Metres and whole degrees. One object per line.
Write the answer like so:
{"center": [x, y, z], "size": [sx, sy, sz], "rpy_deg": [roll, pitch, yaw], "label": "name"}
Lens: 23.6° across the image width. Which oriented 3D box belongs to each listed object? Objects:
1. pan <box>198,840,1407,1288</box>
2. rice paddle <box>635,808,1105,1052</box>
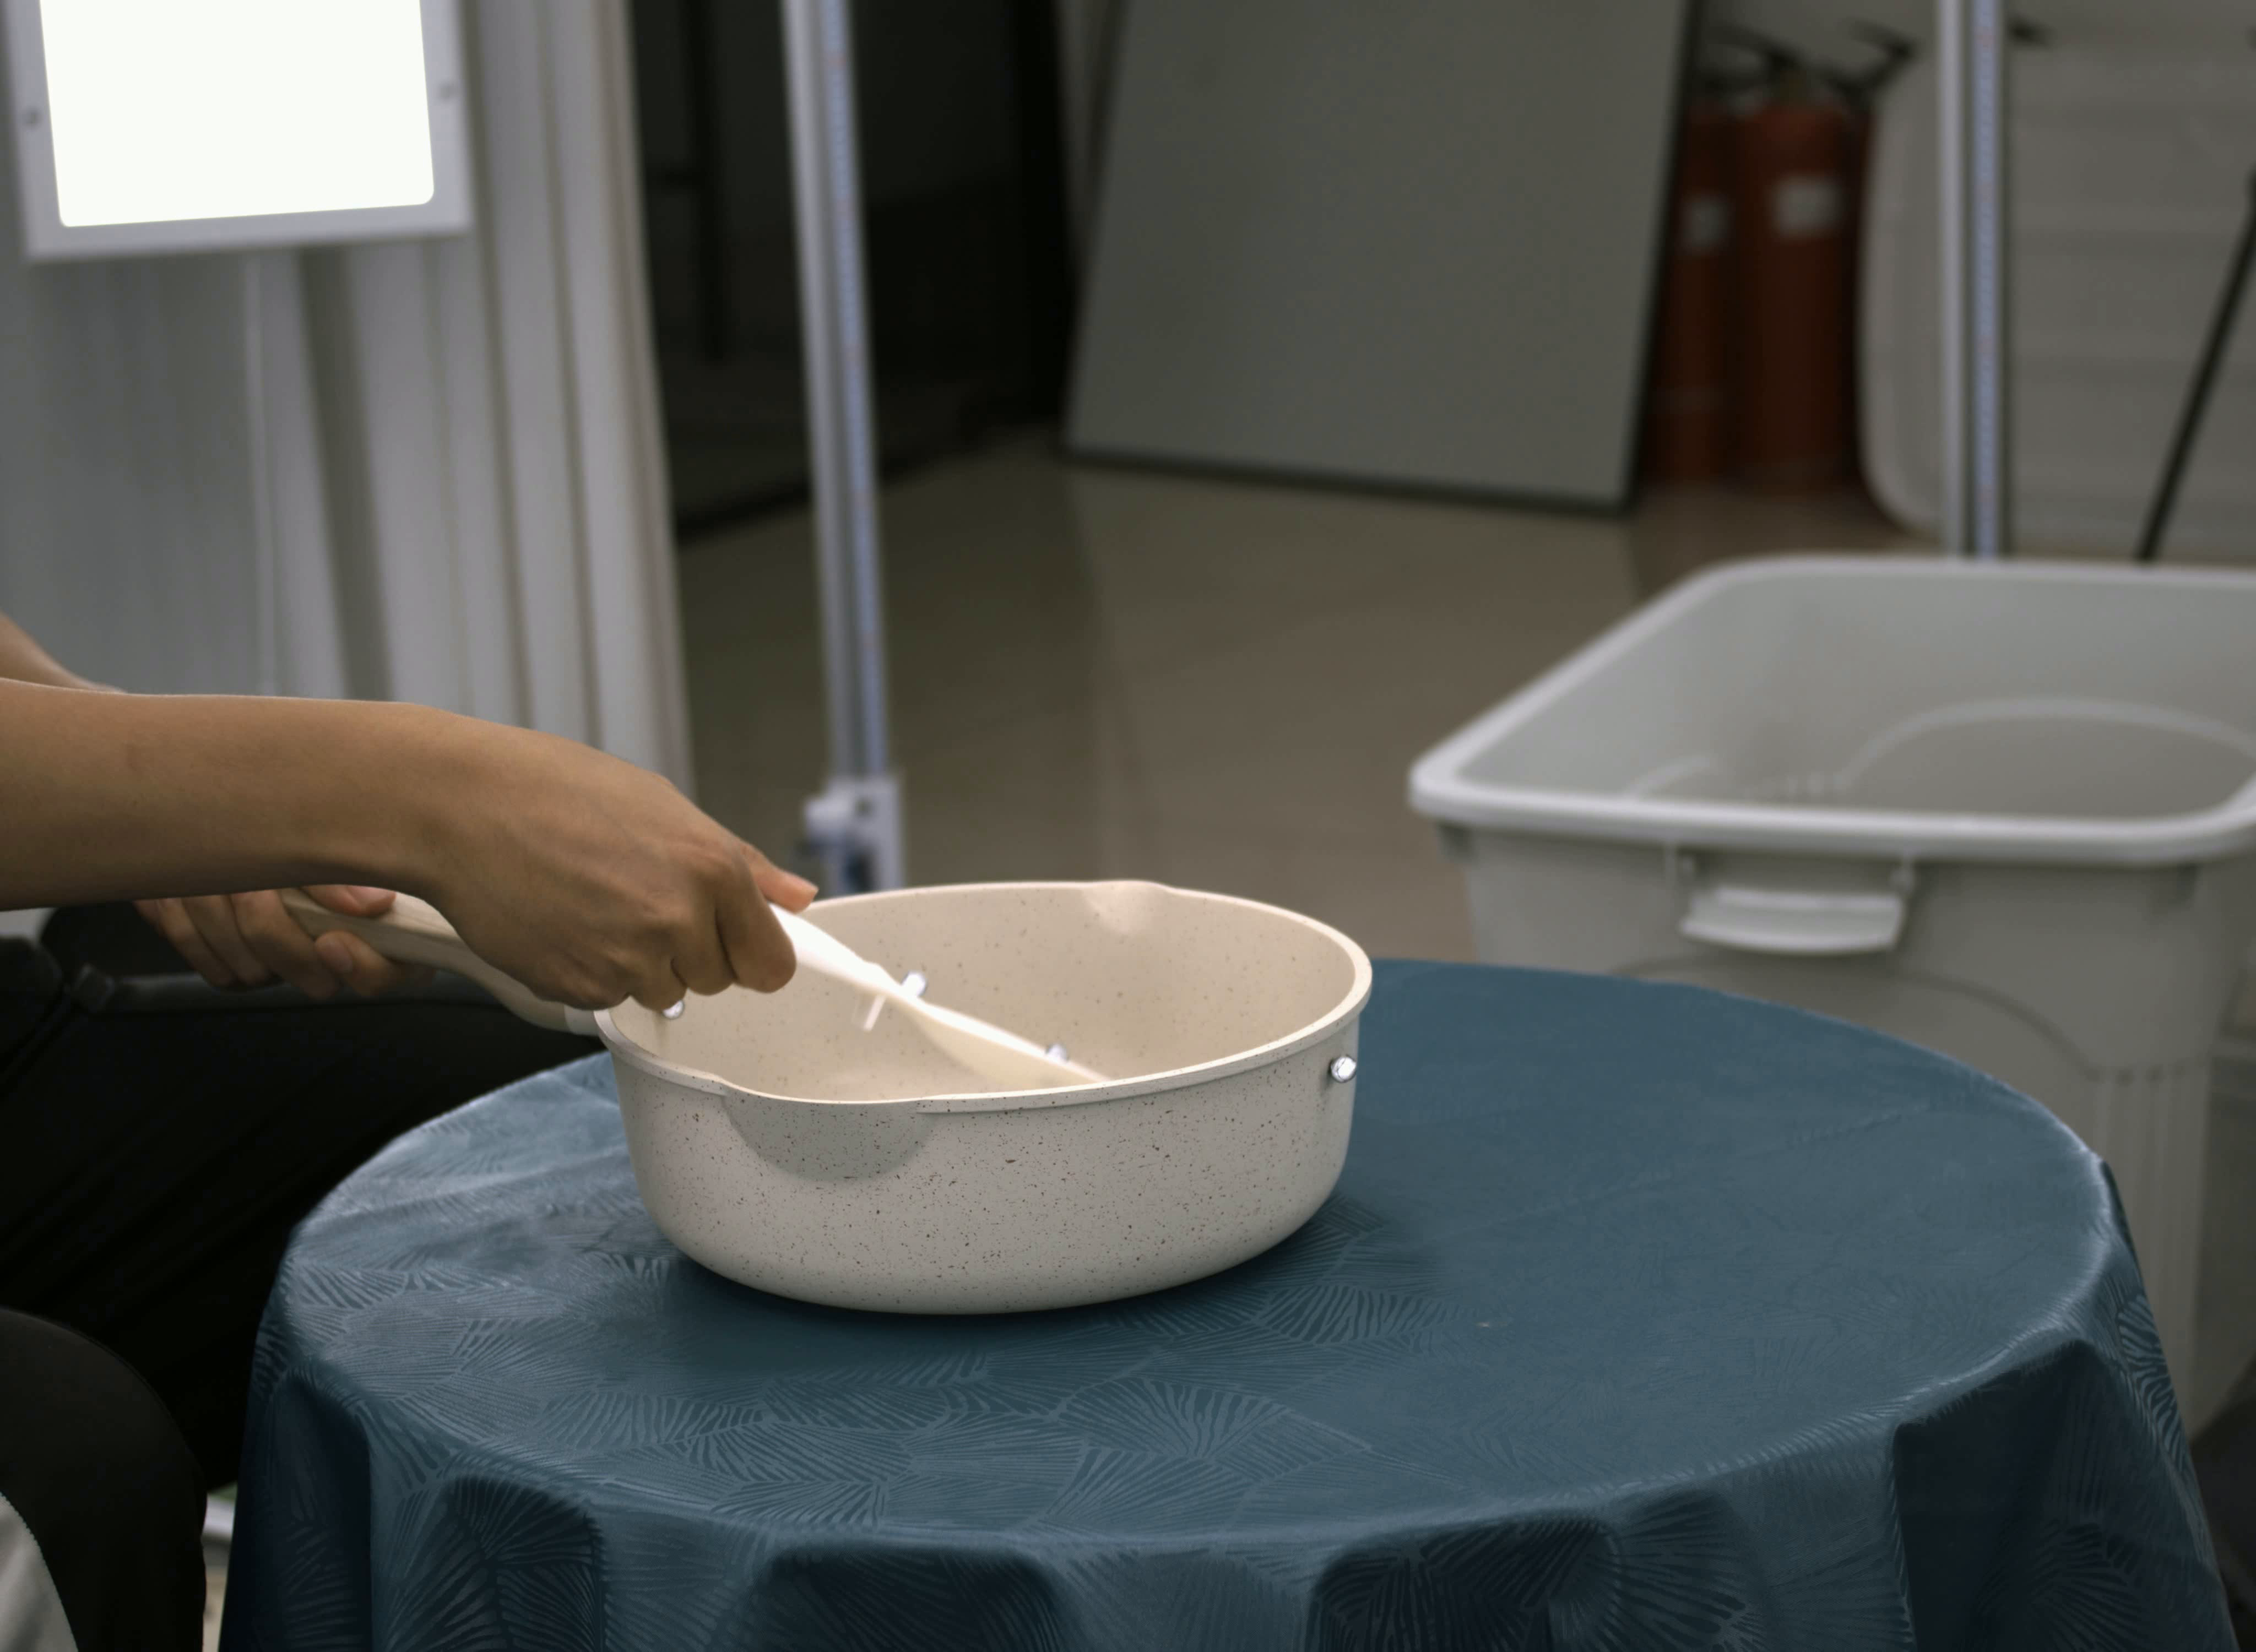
{"center": [-0.114, 0.069, 1.793], "size": [0.435, 0.103, 0.260], "rpy_deg": [2, 17, 24], "label": "pan"}
{"center": [-0.066, 0.045, 1.744], "size": [0.201, 0.029, 0.069], "rpy_deg": [25, -2, -28], "label": "rice paddle"}
